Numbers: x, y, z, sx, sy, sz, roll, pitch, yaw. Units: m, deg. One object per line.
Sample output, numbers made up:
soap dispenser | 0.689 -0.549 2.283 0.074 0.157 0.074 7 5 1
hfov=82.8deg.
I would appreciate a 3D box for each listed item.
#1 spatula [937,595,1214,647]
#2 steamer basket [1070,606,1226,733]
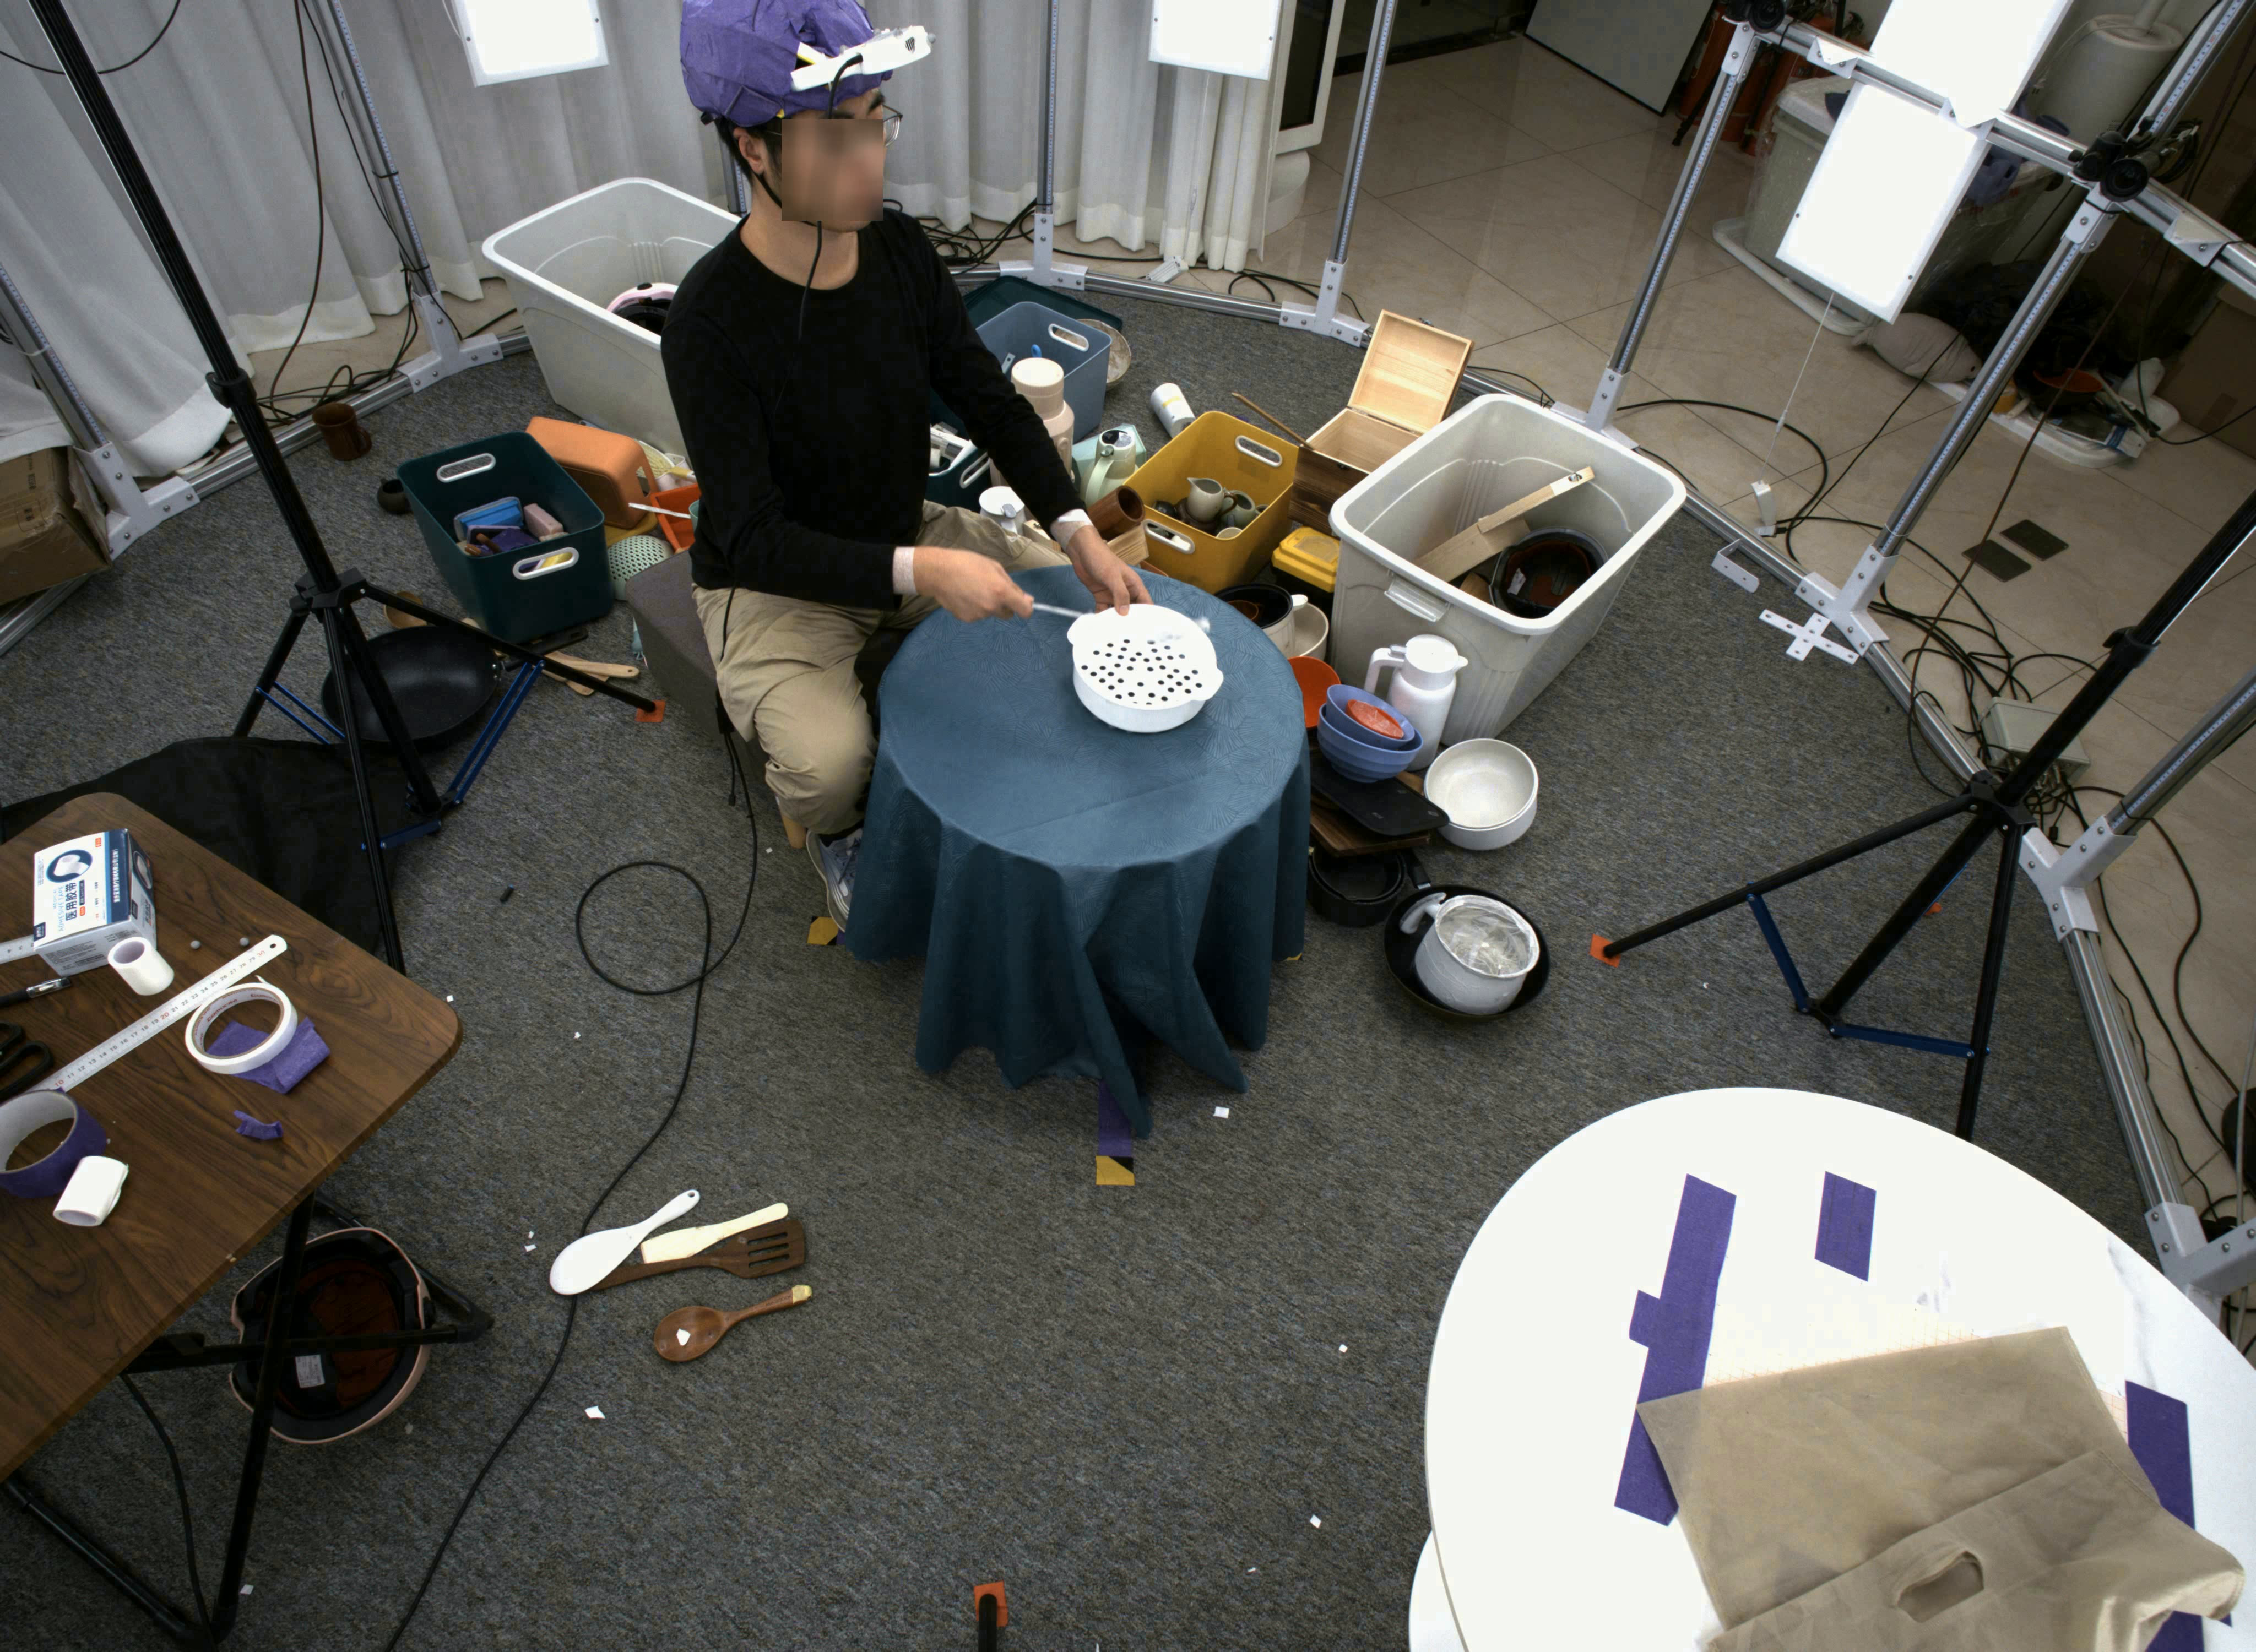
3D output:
spatula | -0.071 -0.276 1.676 0.365 0.044 0.100 13 18 3
steamer basket | 0.025 -0.220 1.813 0.232 0.067 0.205 26 53 15
